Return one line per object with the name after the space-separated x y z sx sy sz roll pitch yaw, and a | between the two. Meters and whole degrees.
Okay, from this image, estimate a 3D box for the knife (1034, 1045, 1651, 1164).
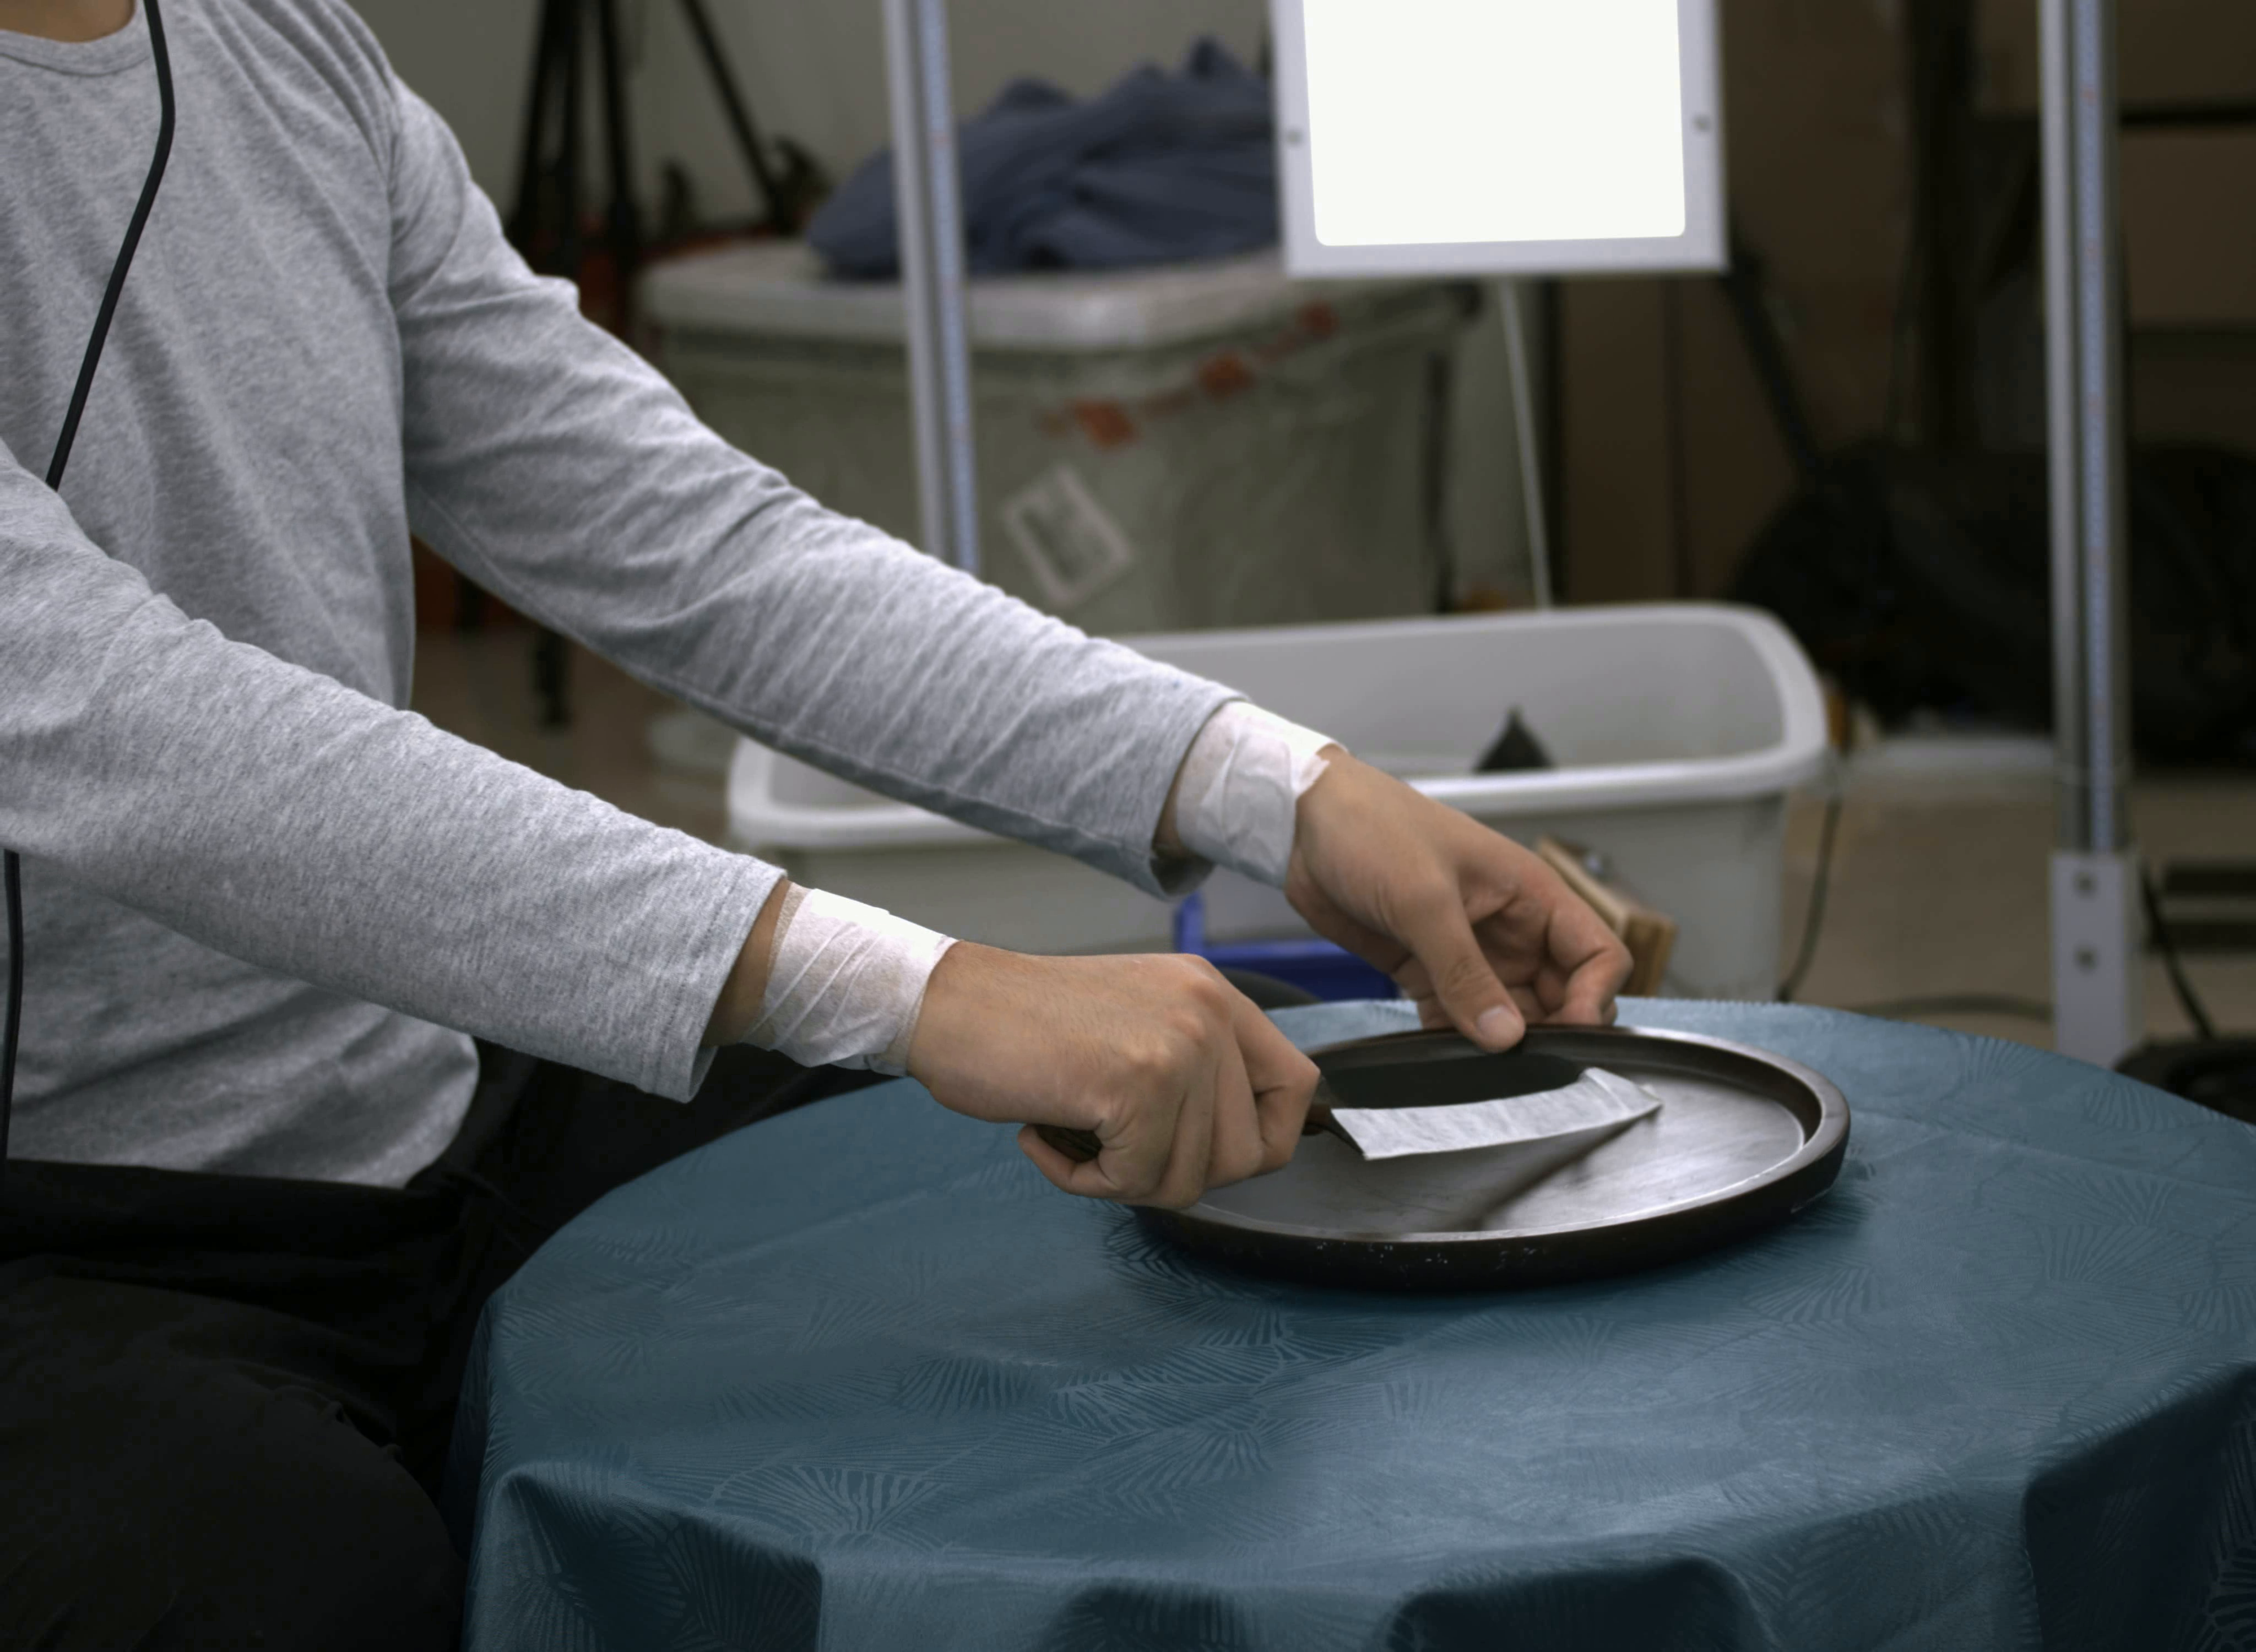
0.078 0.092 1.818 0.282 0.020 0.051 0 40 -43 | knife

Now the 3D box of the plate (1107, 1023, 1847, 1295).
0.119 0.111 1.872 0.254 0.029 0.254 -7 15 0 | plate
